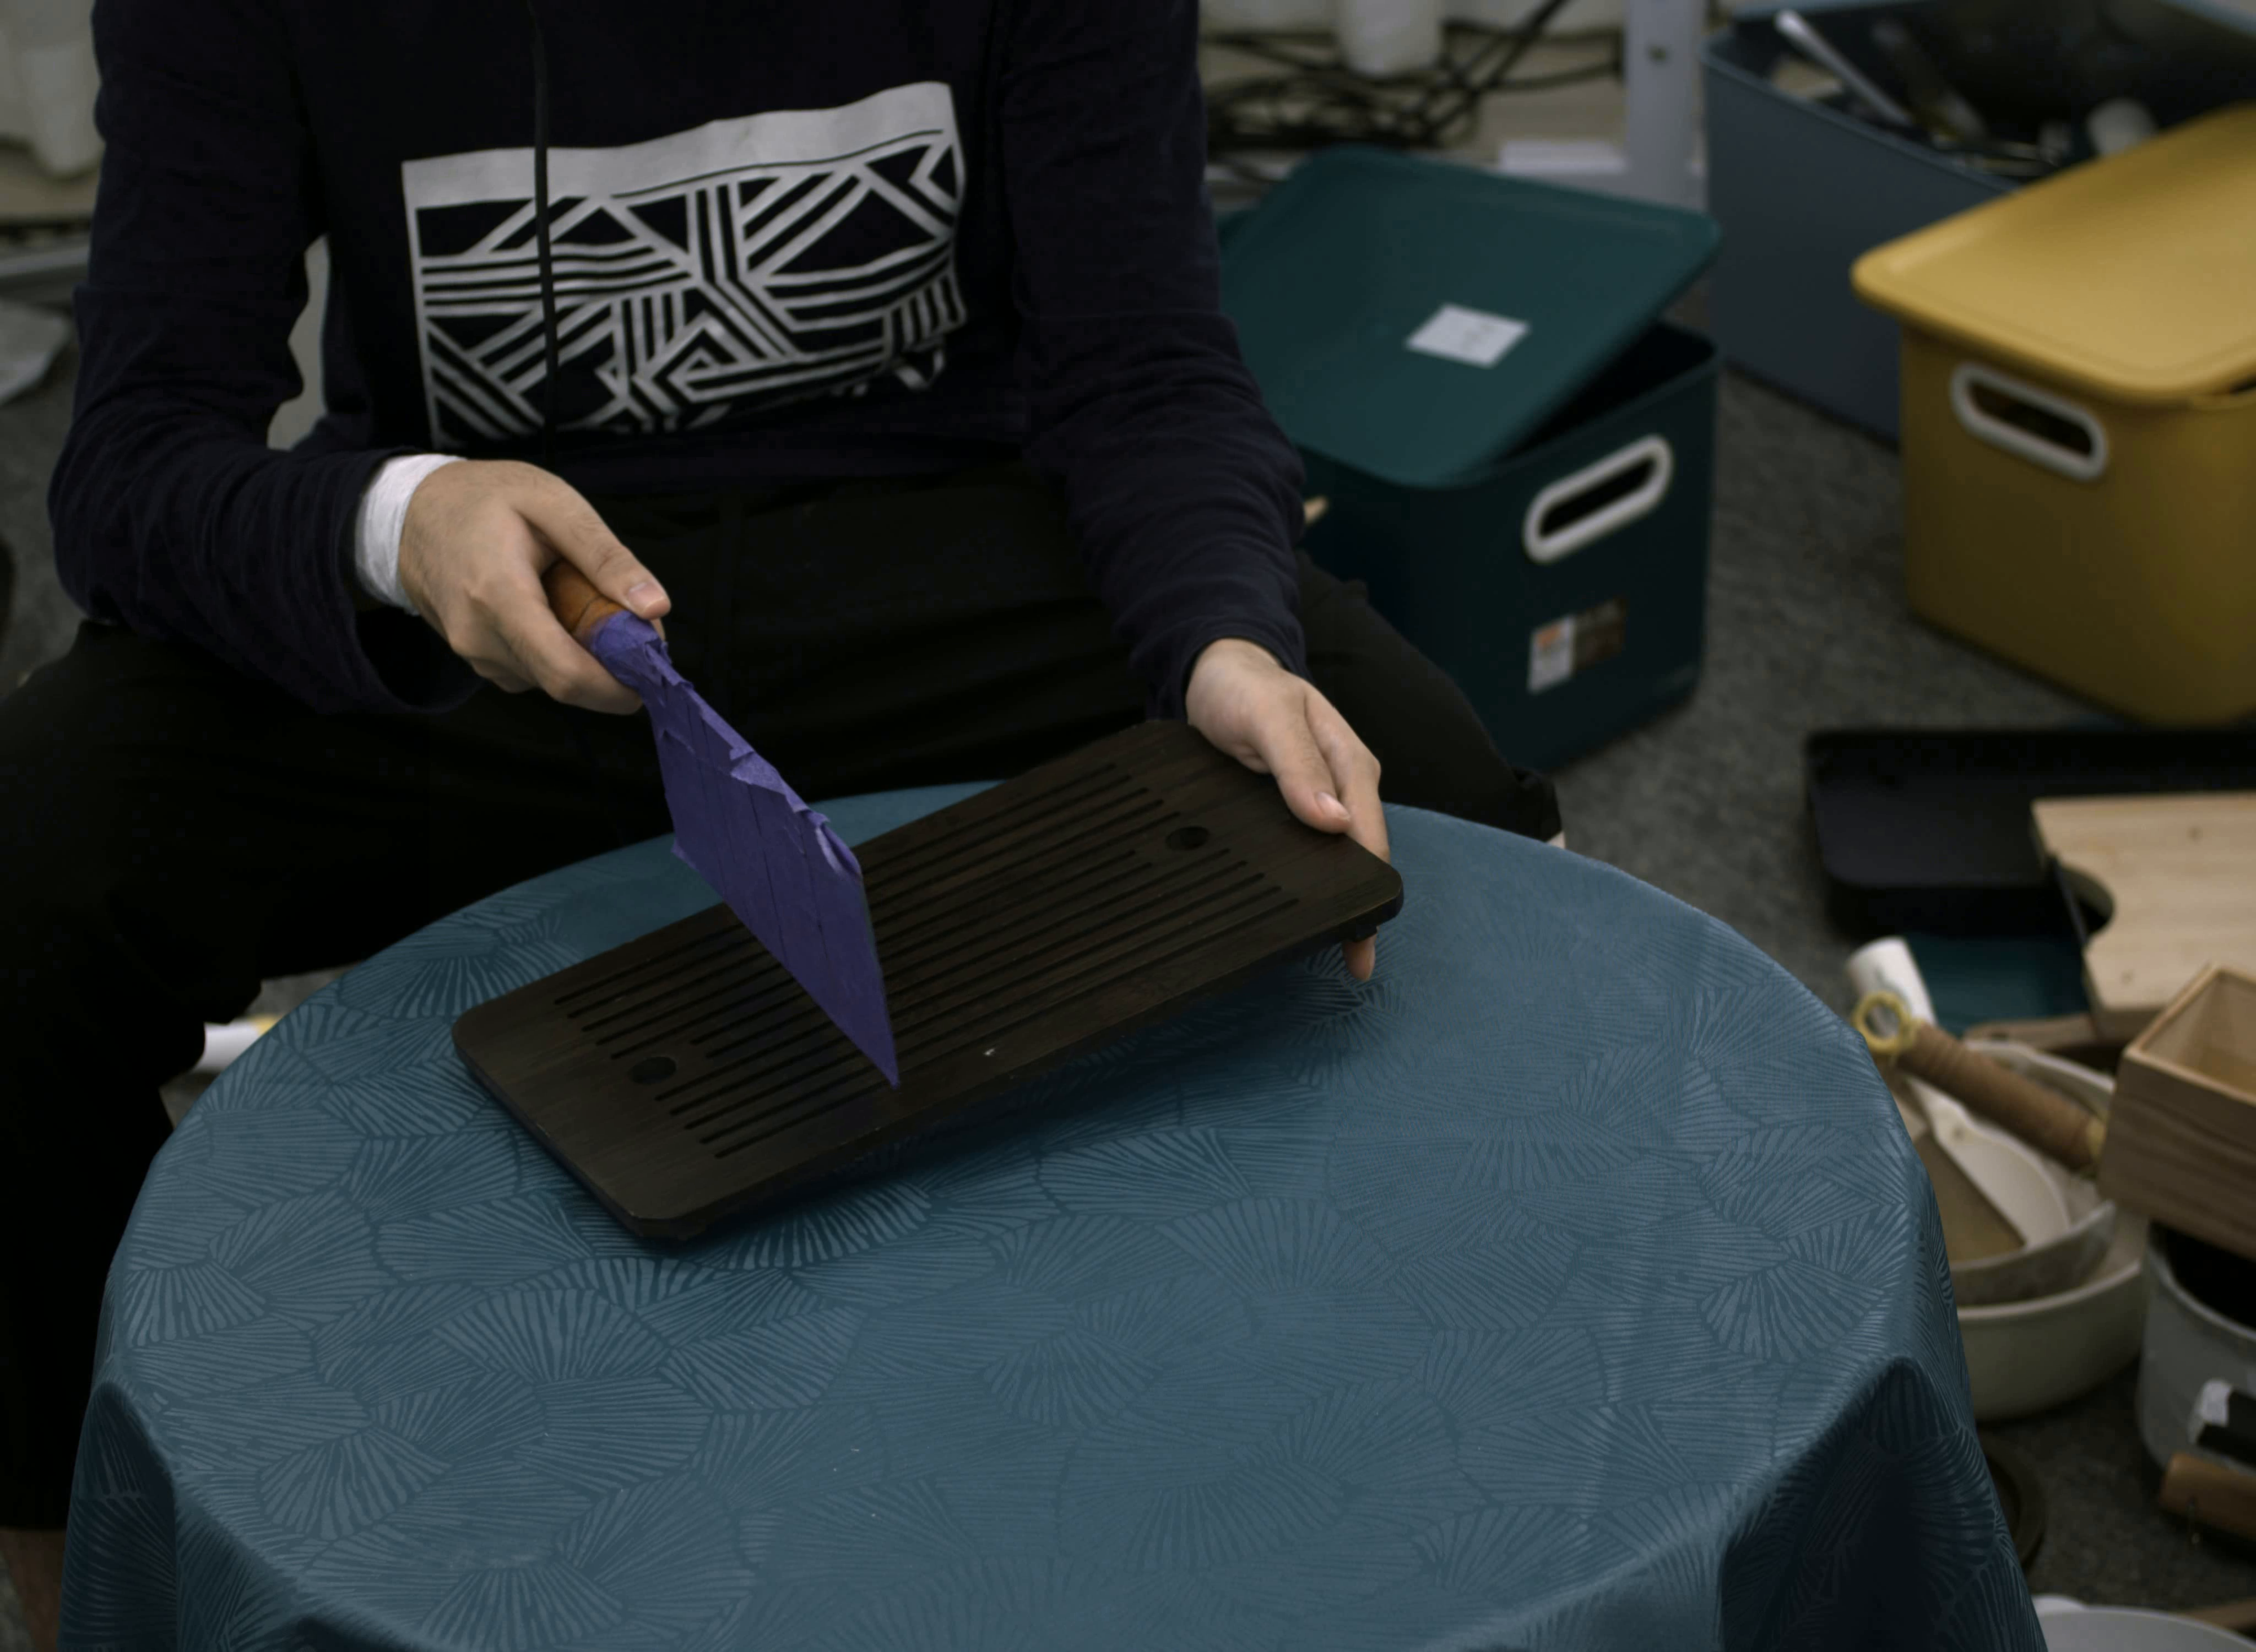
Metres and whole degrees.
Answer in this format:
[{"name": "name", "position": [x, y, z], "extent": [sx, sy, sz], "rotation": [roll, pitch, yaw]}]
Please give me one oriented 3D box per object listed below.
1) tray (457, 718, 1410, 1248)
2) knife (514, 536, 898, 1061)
[{"name": "tray", "position": [-0.067, 0.053, 1.950], "extent": [0.308, 0.018, 0.171], "rotation": [-23, 33, -23]}, {"name": "knife", "position": [-0.149, -0.009, 1.962], "extent": [0.032, 0.103, 0.317], "rotation": [-16, 28, -17]}]
